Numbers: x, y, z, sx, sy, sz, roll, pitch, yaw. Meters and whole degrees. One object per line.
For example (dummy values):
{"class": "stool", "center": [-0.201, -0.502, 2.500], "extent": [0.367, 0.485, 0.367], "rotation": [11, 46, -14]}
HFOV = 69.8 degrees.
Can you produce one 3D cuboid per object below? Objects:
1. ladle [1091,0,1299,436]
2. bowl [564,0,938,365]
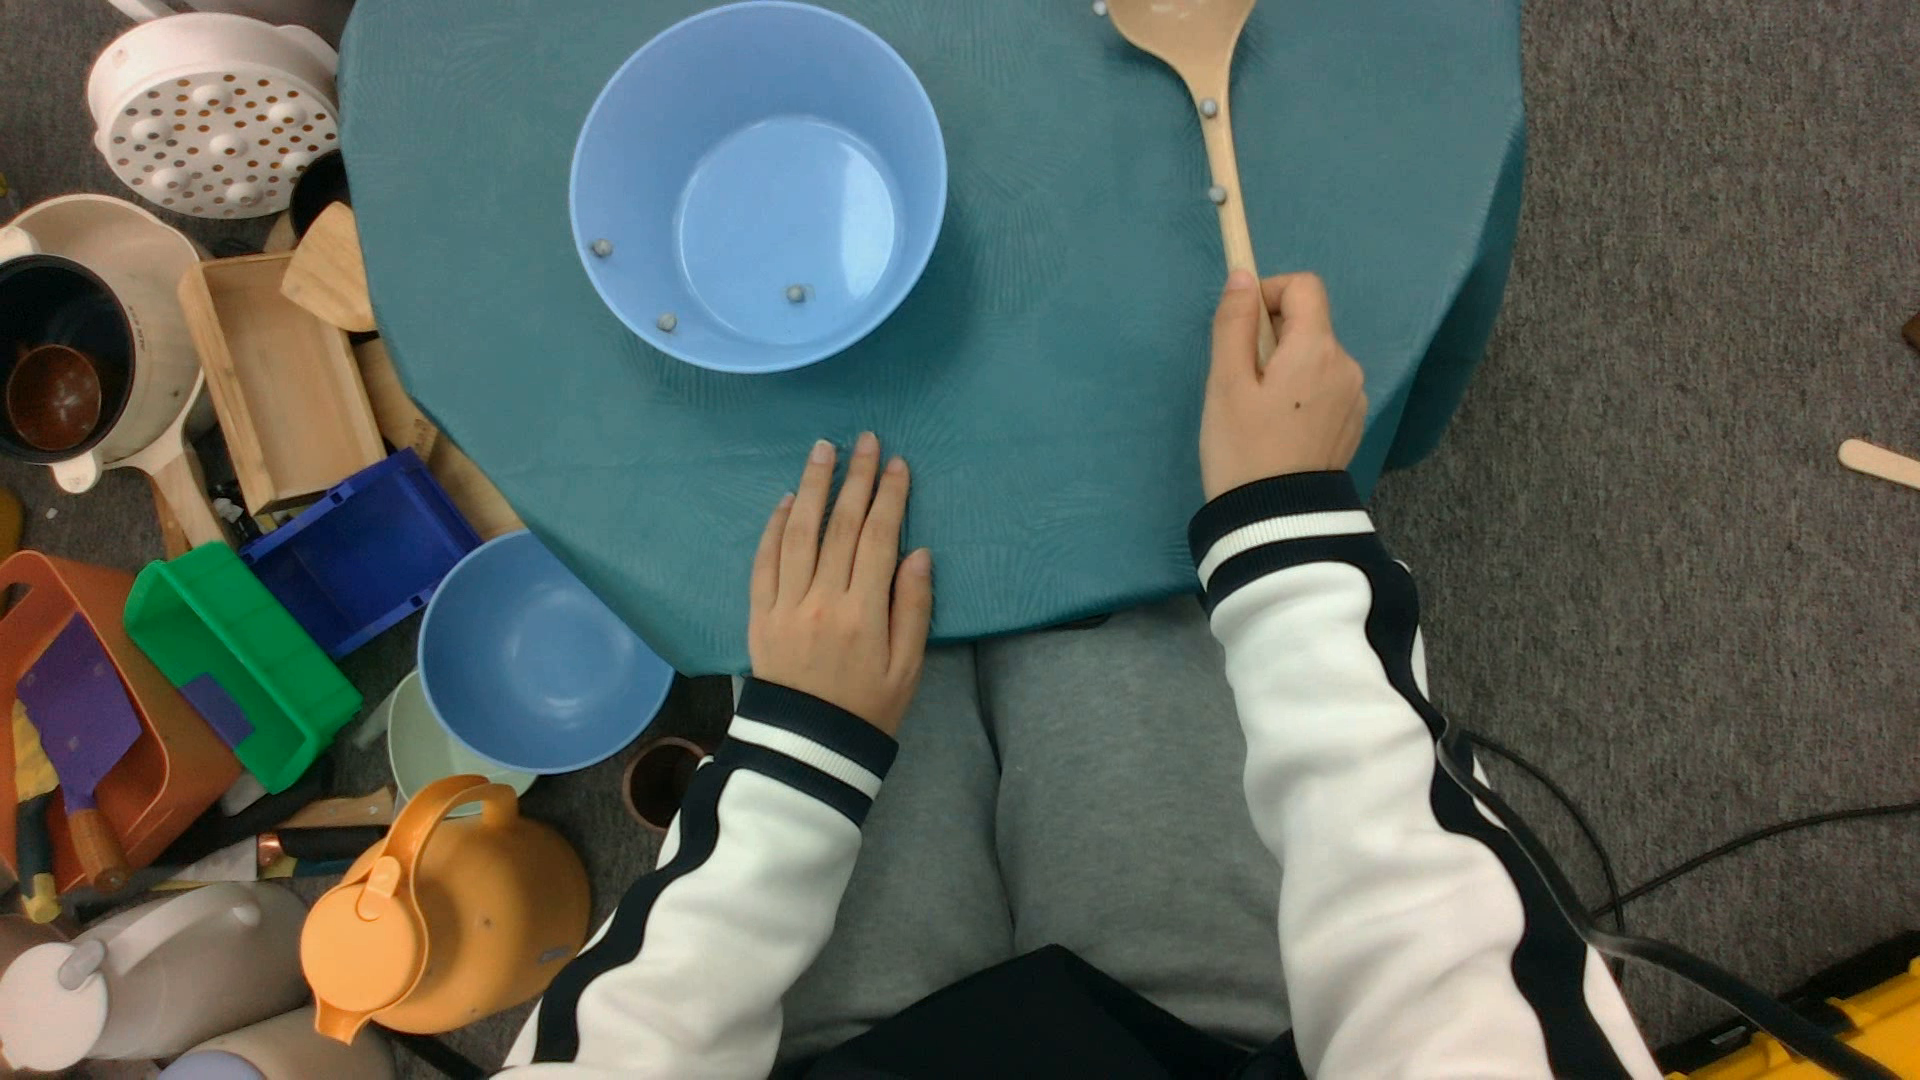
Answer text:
{"class": "ladle", "center": [0.111, -0.174, 0.620], "extent": [0.072, 0.073, 0.255], "rotation": [-15, 70, 19]}
{"class": "bowl", "center": [-0.093, -0.162, 0.660], "extent": [0.176, 0.070, 0.176], "rotation": [-1, 82, 7]}
